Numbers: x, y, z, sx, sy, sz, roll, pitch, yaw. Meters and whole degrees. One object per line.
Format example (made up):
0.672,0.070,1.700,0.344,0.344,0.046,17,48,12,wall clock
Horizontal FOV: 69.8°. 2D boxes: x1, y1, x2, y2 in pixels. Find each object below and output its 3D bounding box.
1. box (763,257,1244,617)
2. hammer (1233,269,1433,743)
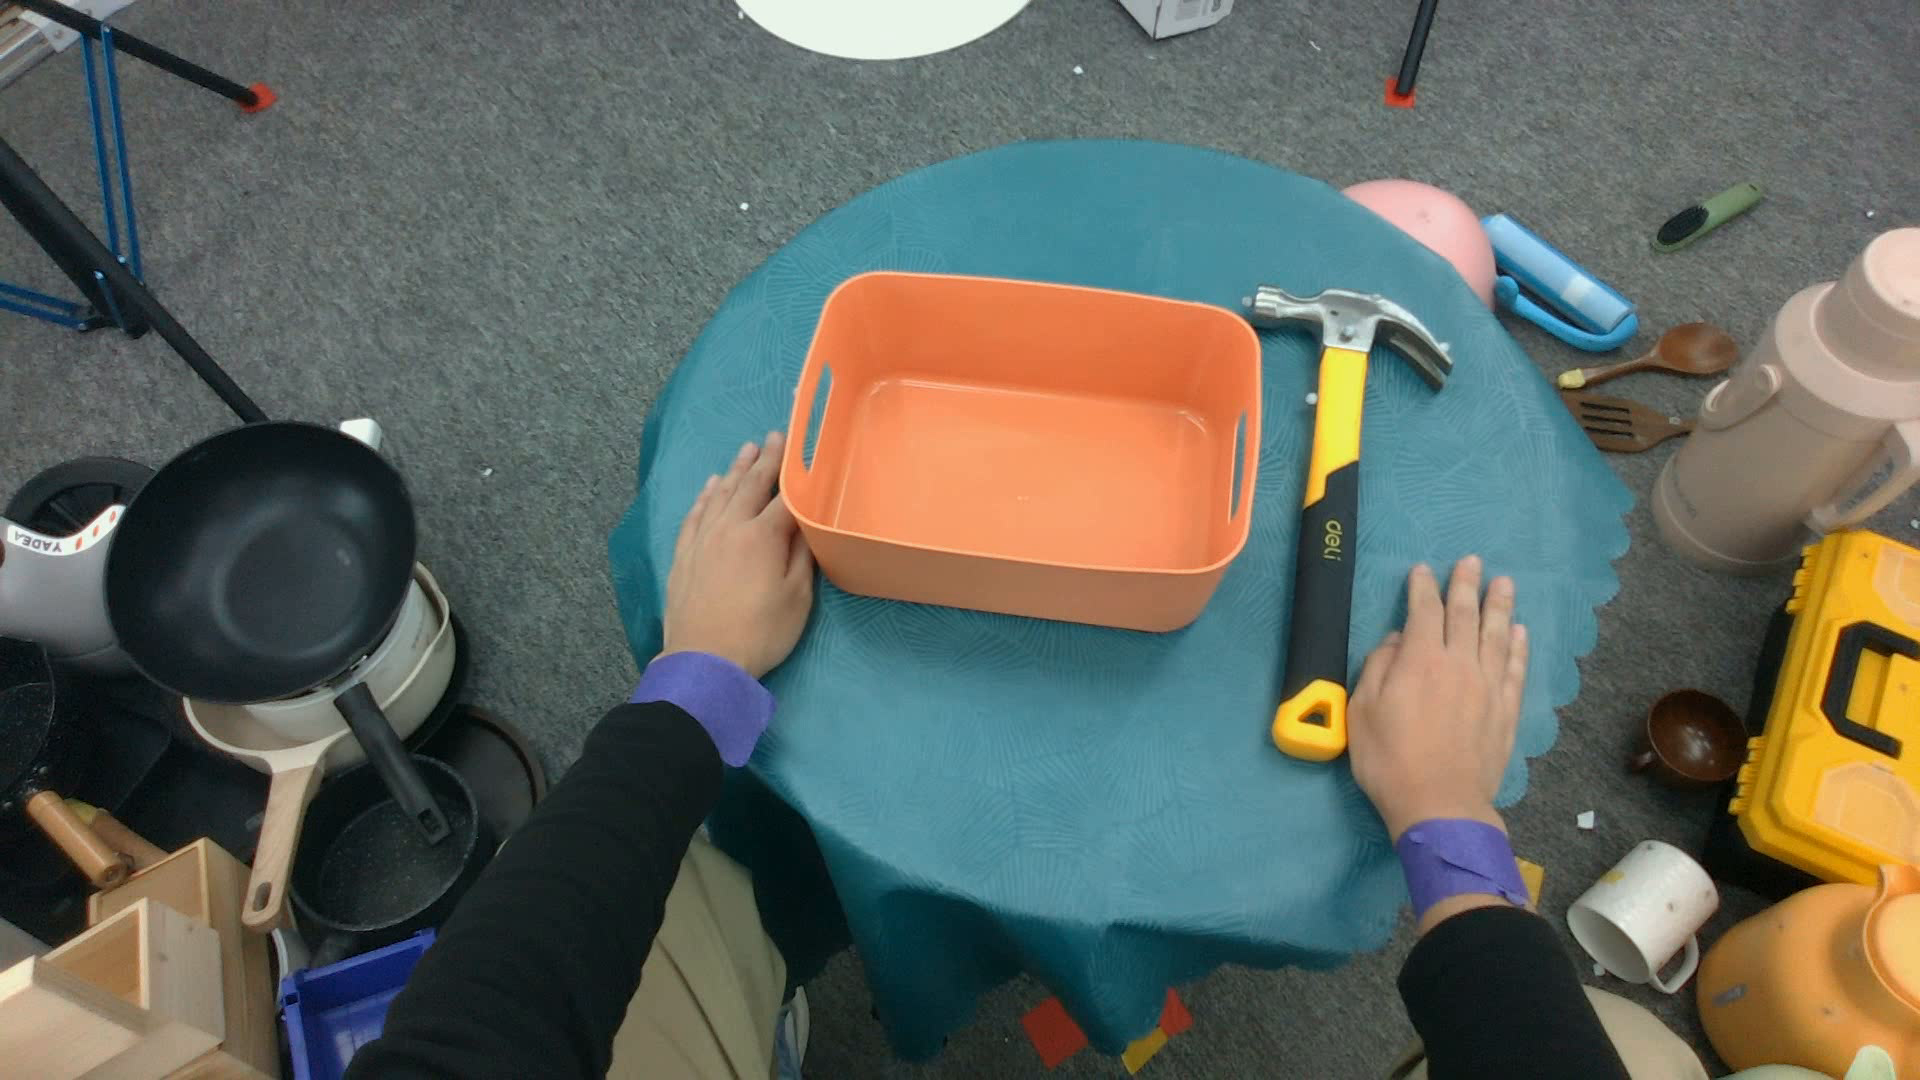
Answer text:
0.030,-0.058,0.843,0.273,0.102,0.200,6,61,5,box
0.223,-0.032,0.863,0.131,0.032,0.340,10,60,6,hammer
